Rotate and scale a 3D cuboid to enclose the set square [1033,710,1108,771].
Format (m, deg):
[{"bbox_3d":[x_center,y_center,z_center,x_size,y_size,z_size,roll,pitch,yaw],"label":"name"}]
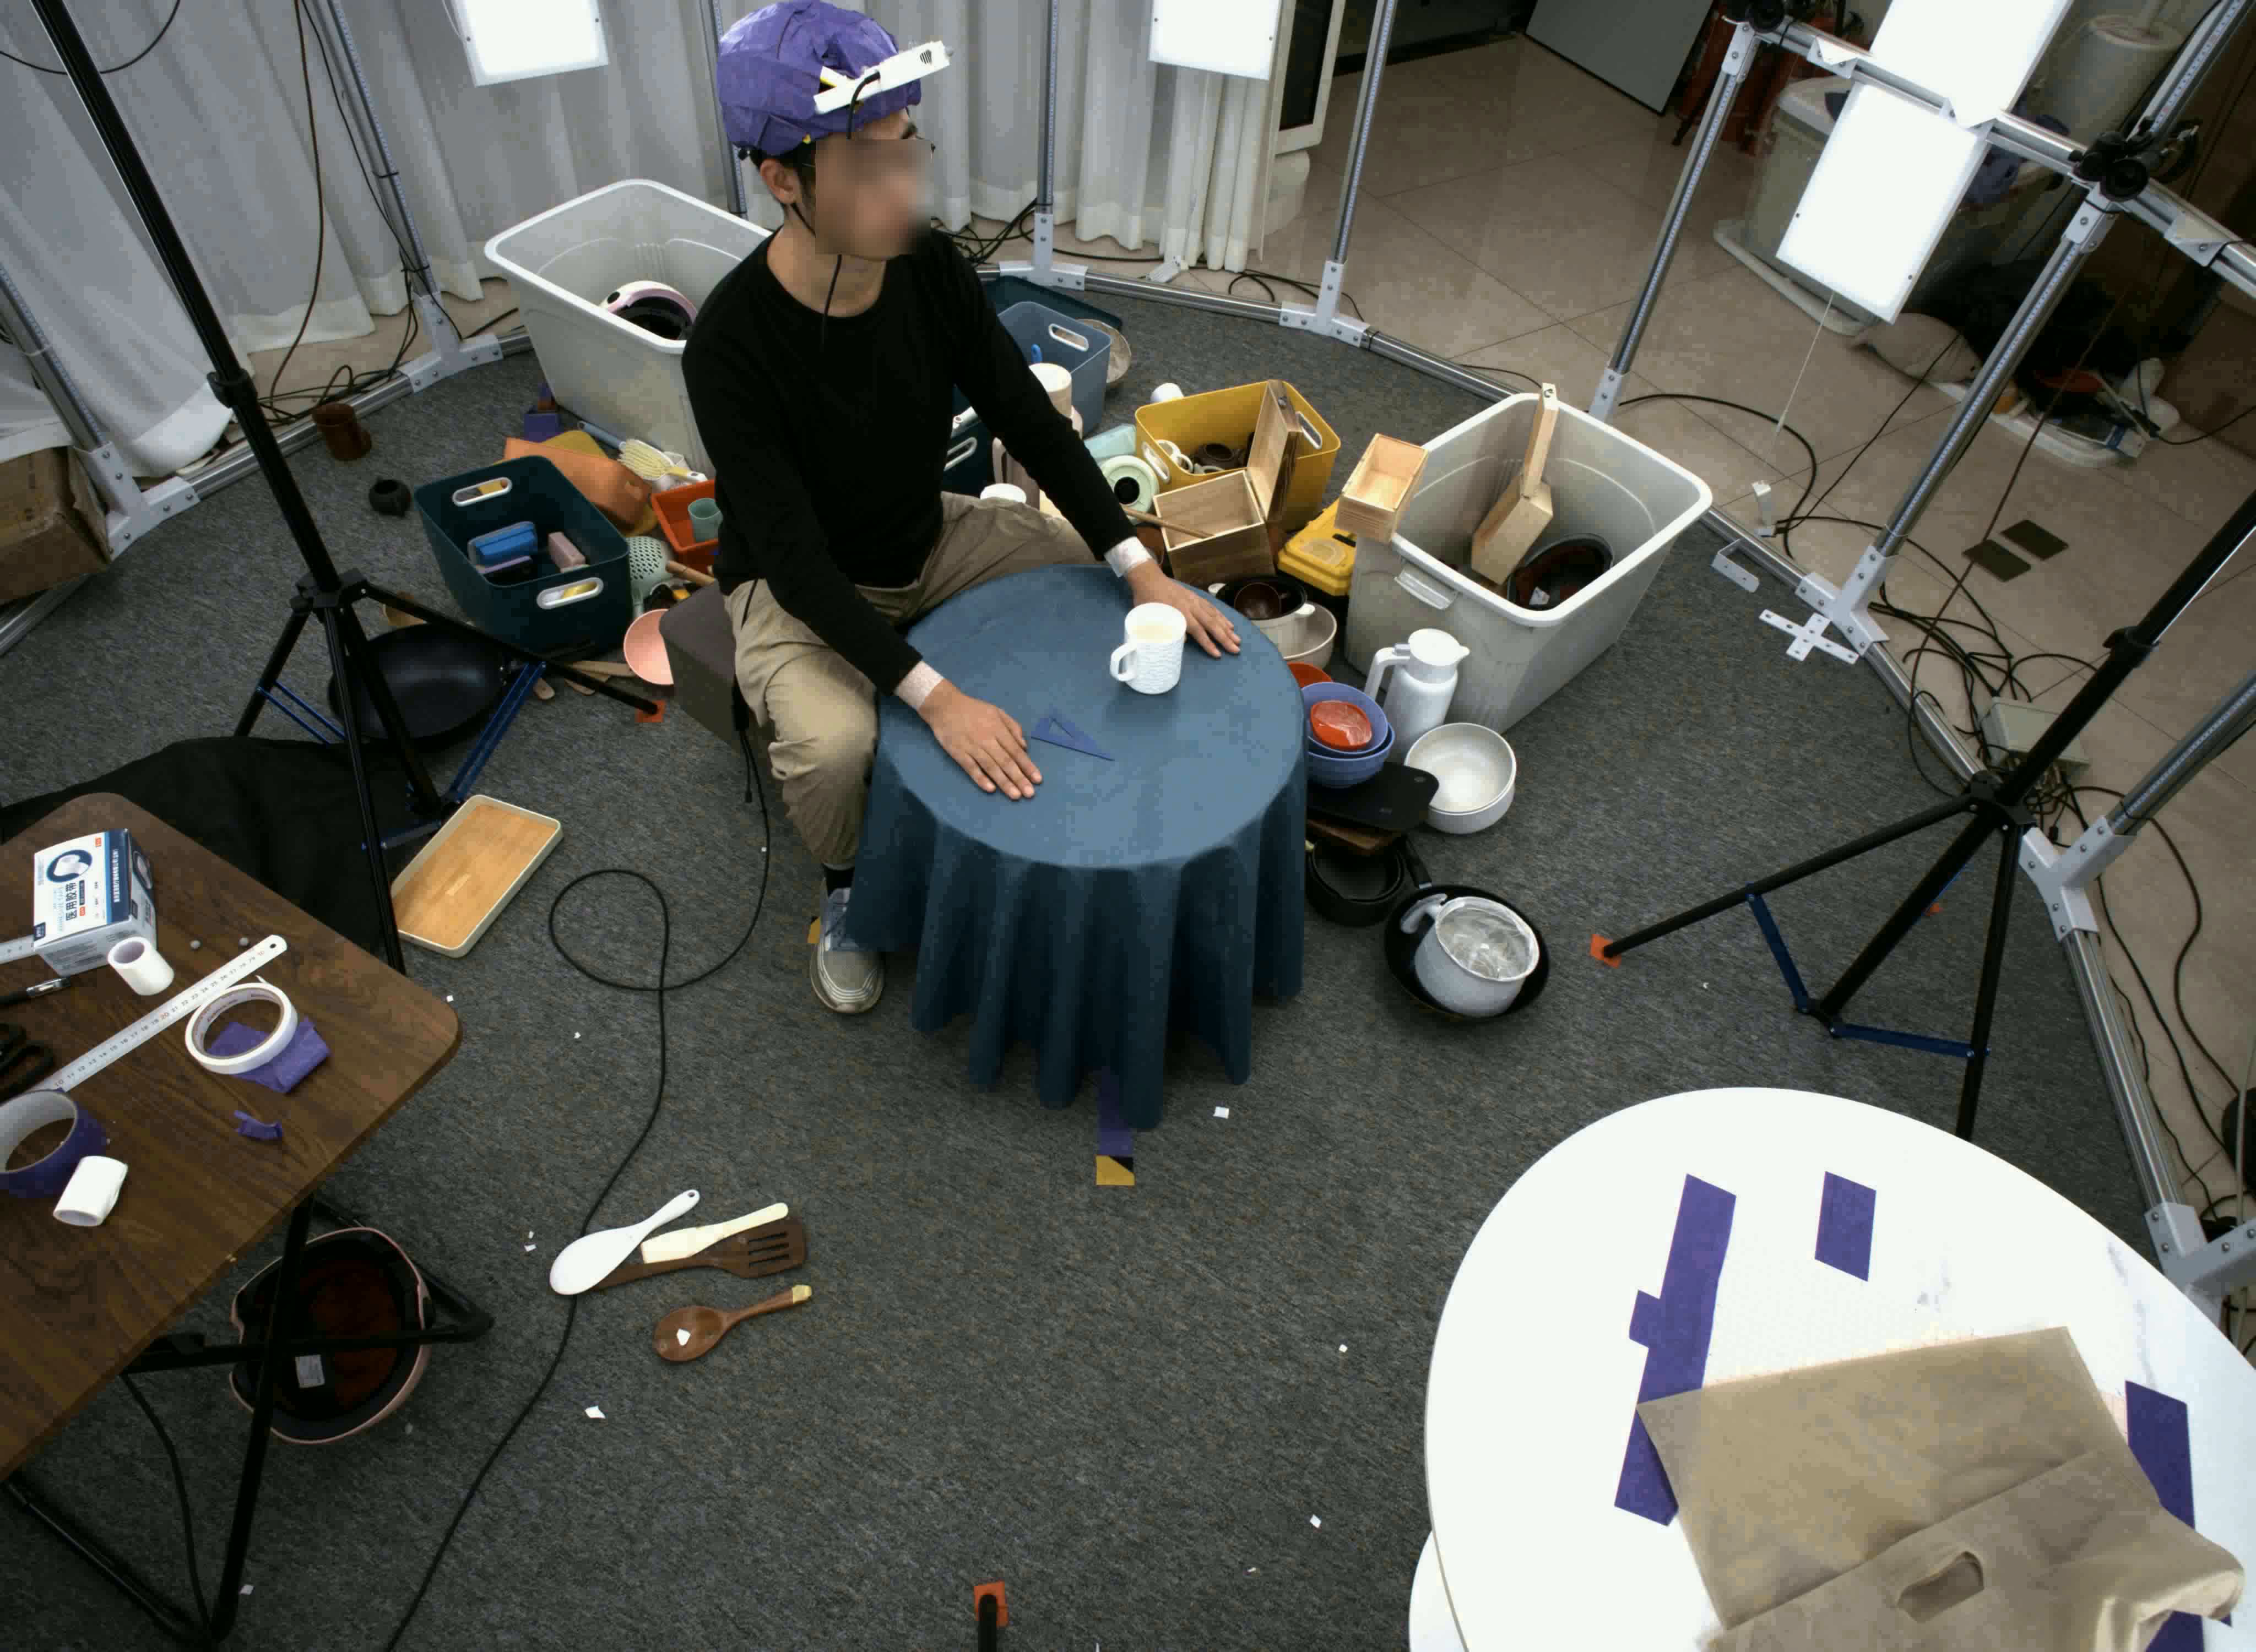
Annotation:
[{"bbox_3d":[-0.085,-0.110,1.757,0.061,0.006,0.134,-27,56,-26],"label":"set square"}]

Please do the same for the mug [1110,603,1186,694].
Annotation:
[{"bbox_3d":[0.024,-0.243,1.816,0.119,0.099,0.086,-31,58,-27],"label":"mug"}]
